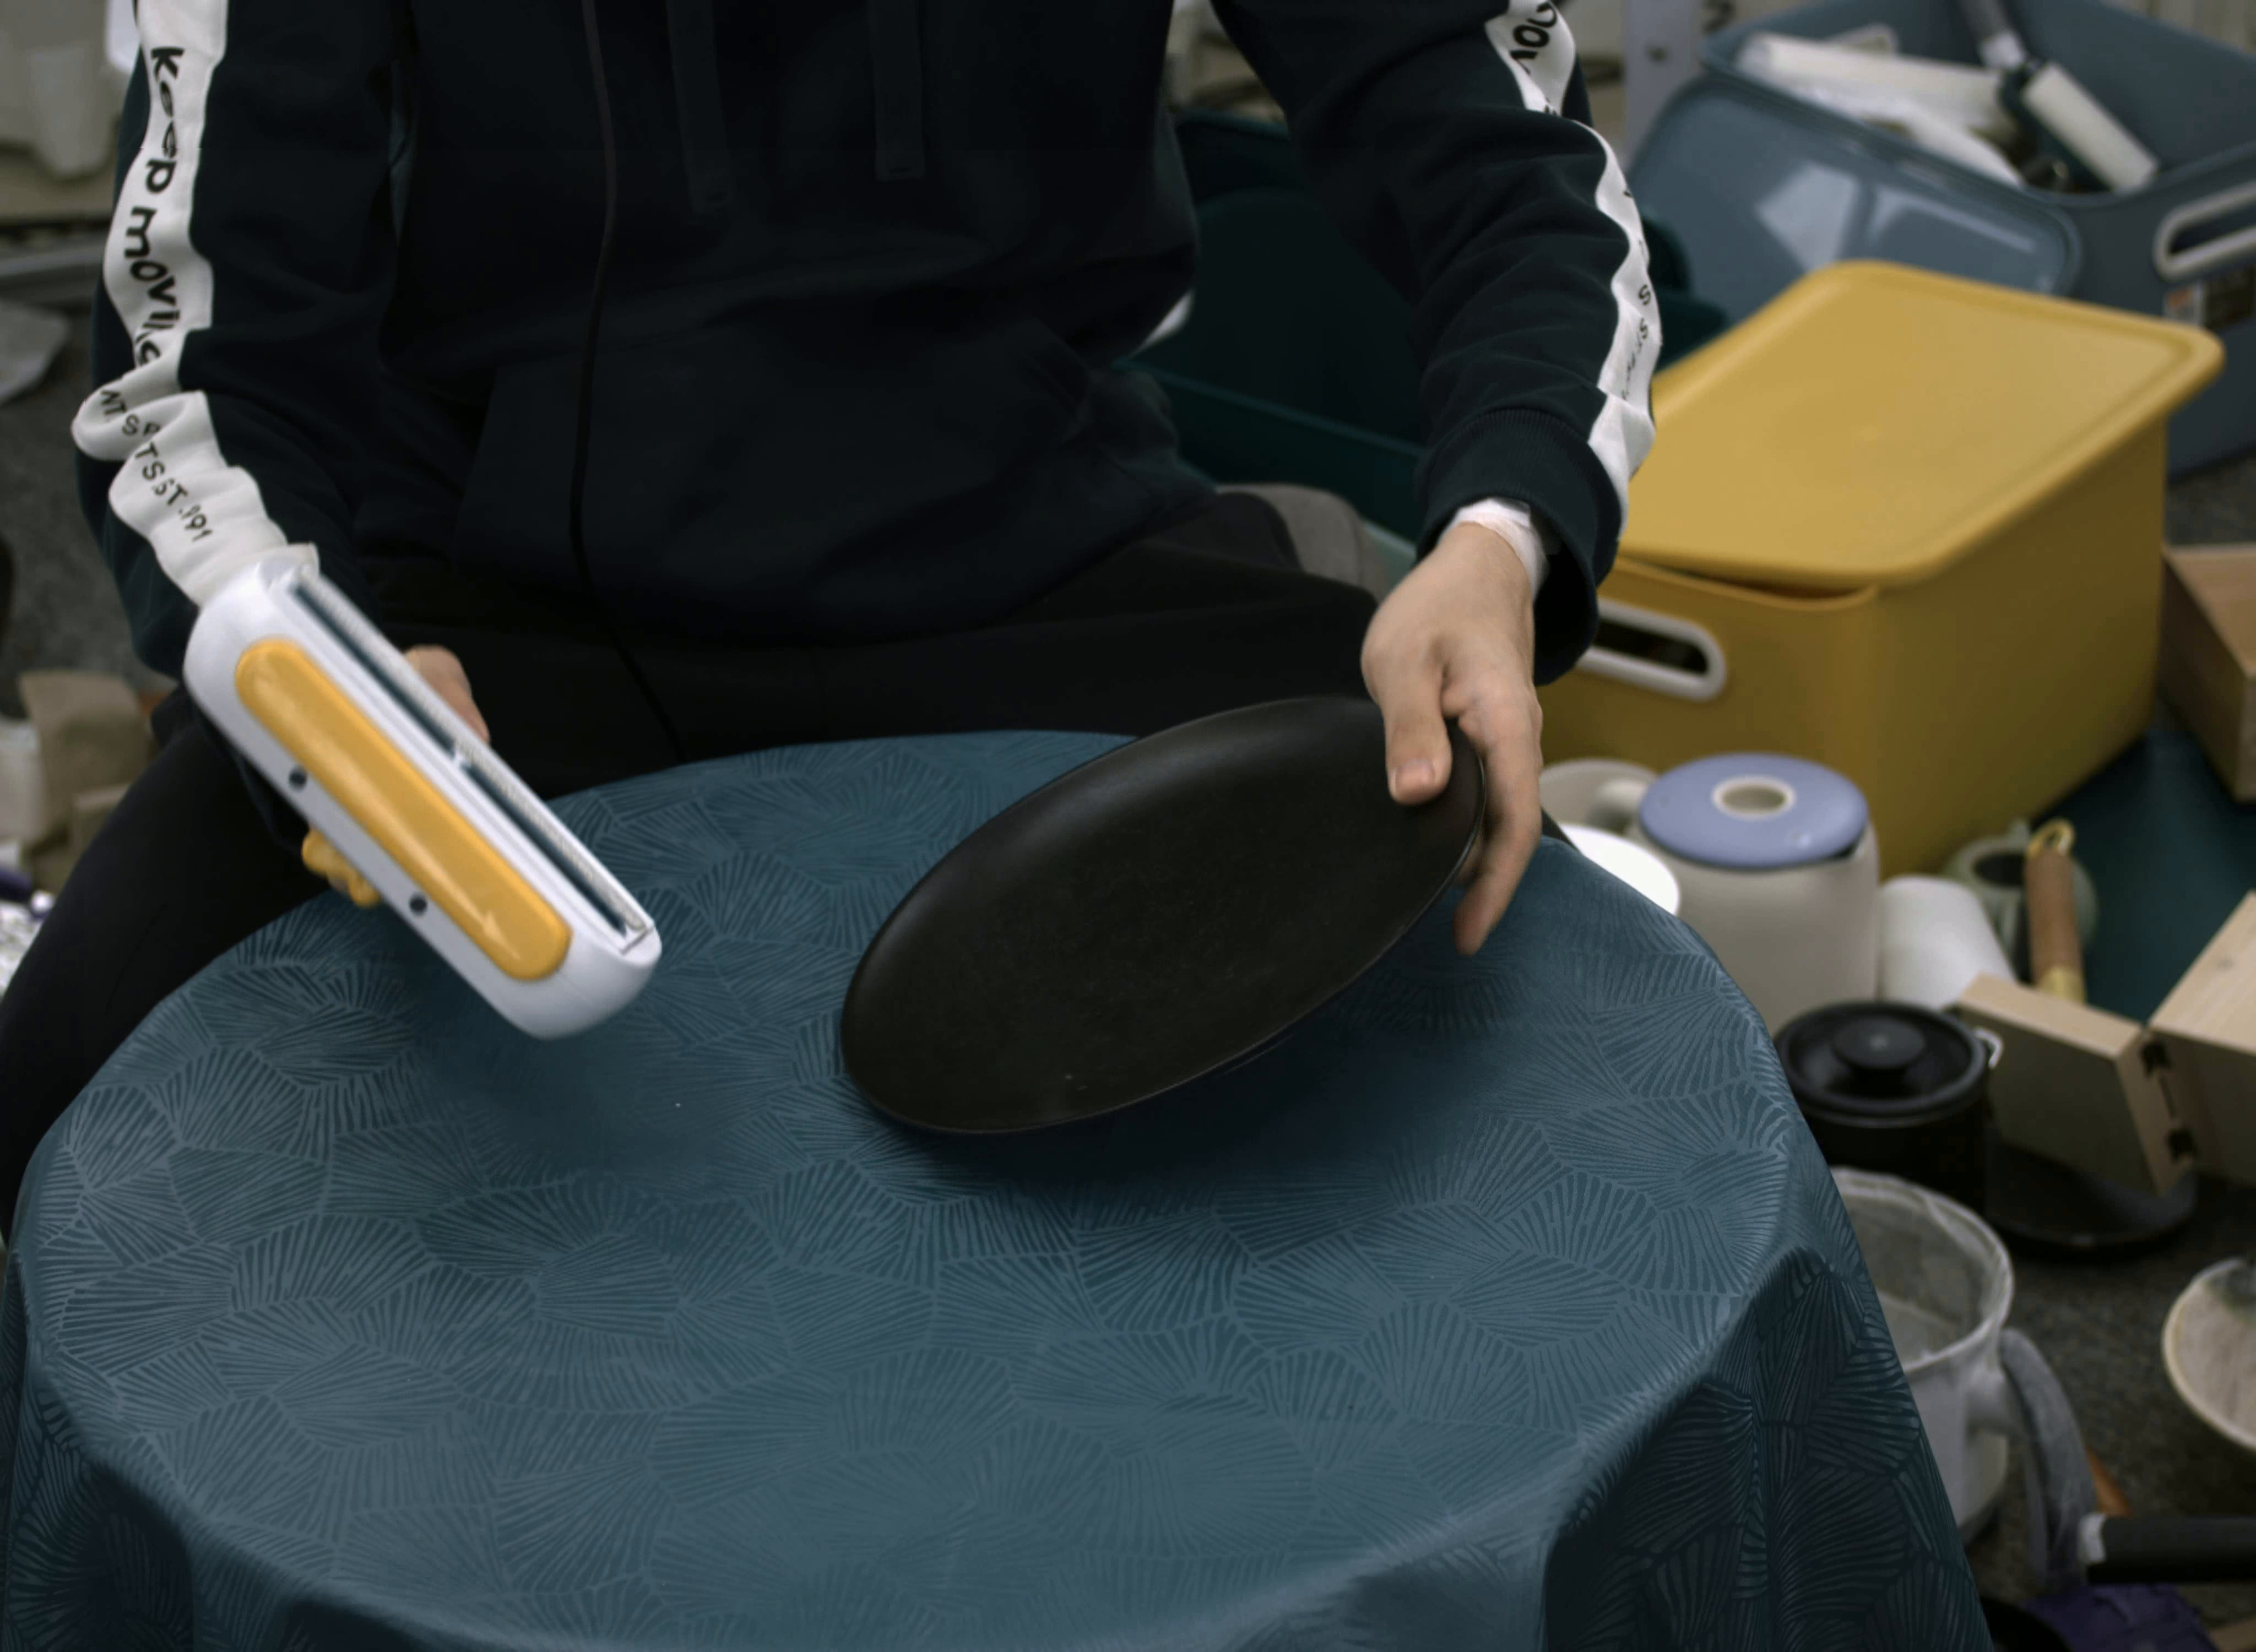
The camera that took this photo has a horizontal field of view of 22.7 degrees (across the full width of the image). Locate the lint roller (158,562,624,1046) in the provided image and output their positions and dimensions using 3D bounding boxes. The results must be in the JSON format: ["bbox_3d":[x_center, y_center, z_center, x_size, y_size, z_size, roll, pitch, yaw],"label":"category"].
[{"bbox_3d":[-0.251,0.006,1.924,0.074,0.193,0.191,-46,-5,-7],"label":"lint roller"}]

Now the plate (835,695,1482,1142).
[{"bbox_3d":[0.013,0.036,1.934,0.242,0.023,0.248,-20,28,11],"label":"plate"}]
